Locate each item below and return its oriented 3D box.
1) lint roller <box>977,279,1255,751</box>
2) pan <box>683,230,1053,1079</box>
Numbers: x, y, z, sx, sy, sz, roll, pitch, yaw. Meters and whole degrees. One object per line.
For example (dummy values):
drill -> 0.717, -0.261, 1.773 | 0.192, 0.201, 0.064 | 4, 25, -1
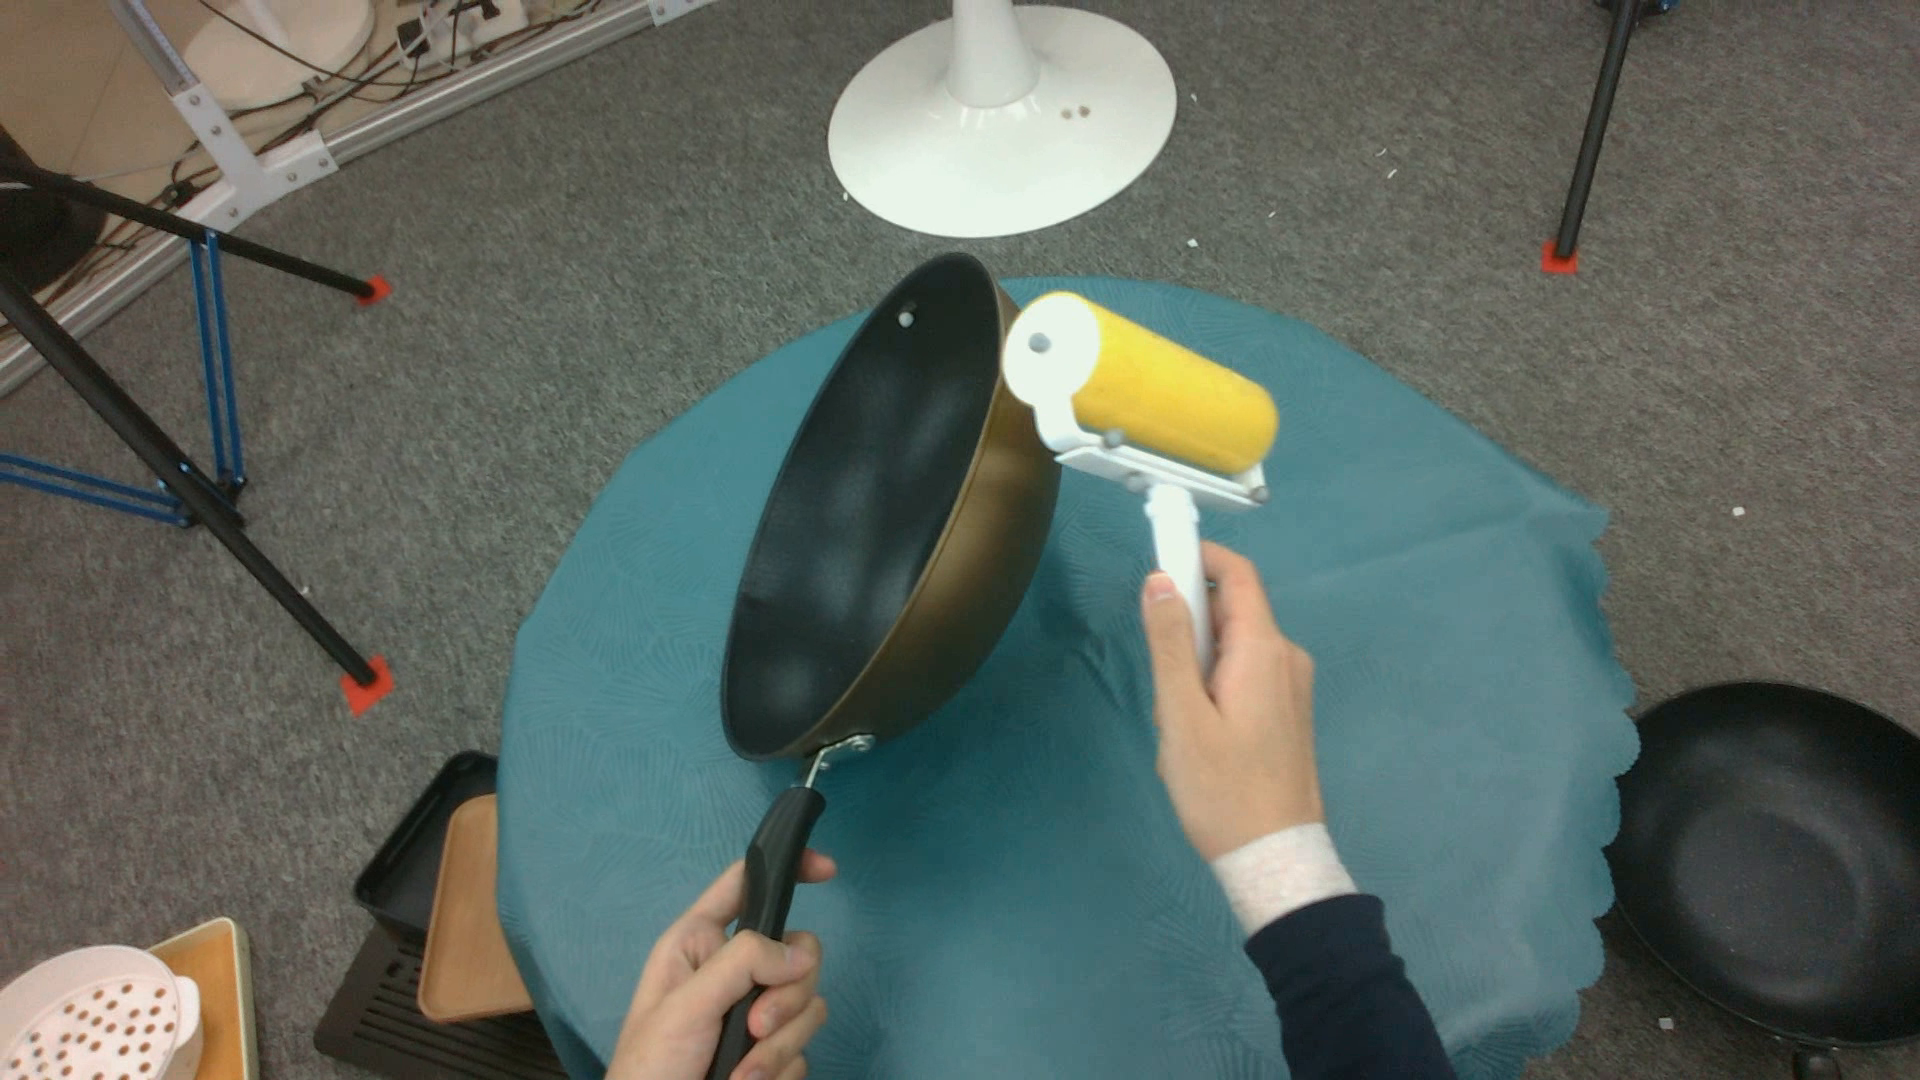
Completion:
lint roller -> 0.094, -0.008, 0.590 | 0.051, 0.174, 0.192 | -31, 66, 31
pan -> -0.045, 0.064, 0.671 | 0.087, 0.286, 0.465 | 23, 58, -23
